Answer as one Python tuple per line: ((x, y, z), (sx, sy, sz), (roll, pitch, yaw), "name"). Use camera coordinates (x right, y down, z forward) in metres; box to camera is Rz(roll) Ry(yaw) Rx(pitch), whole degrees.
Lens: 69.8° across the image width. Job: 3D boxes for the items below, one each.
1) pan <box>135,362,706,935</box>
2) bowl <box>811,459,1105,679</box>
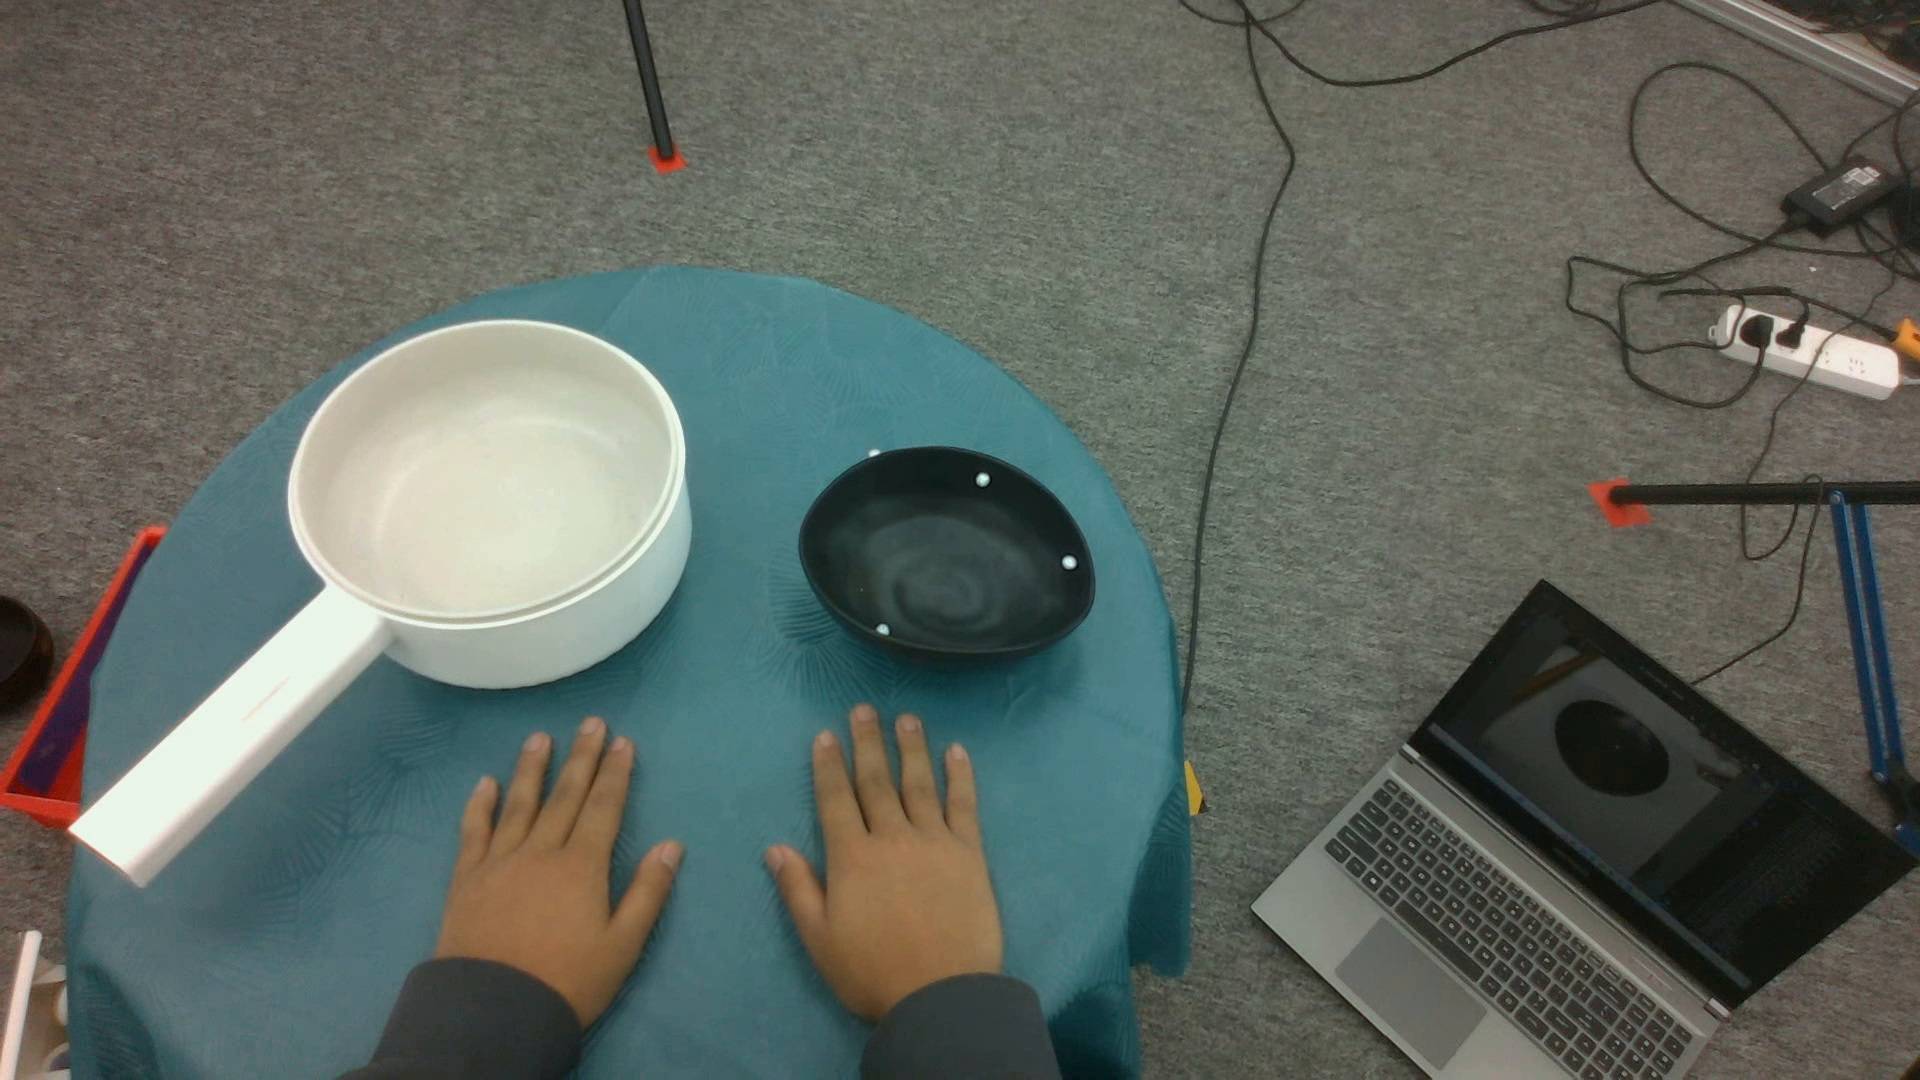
((-0.284, 0.062, 0.757), (0.201, 0.101, 0.356), (27, 61, 11), "pan")
((-0.001, 0.026, 0.802), (0.170, 0.066, 0.138), (10, 56, 3), "bowl")
